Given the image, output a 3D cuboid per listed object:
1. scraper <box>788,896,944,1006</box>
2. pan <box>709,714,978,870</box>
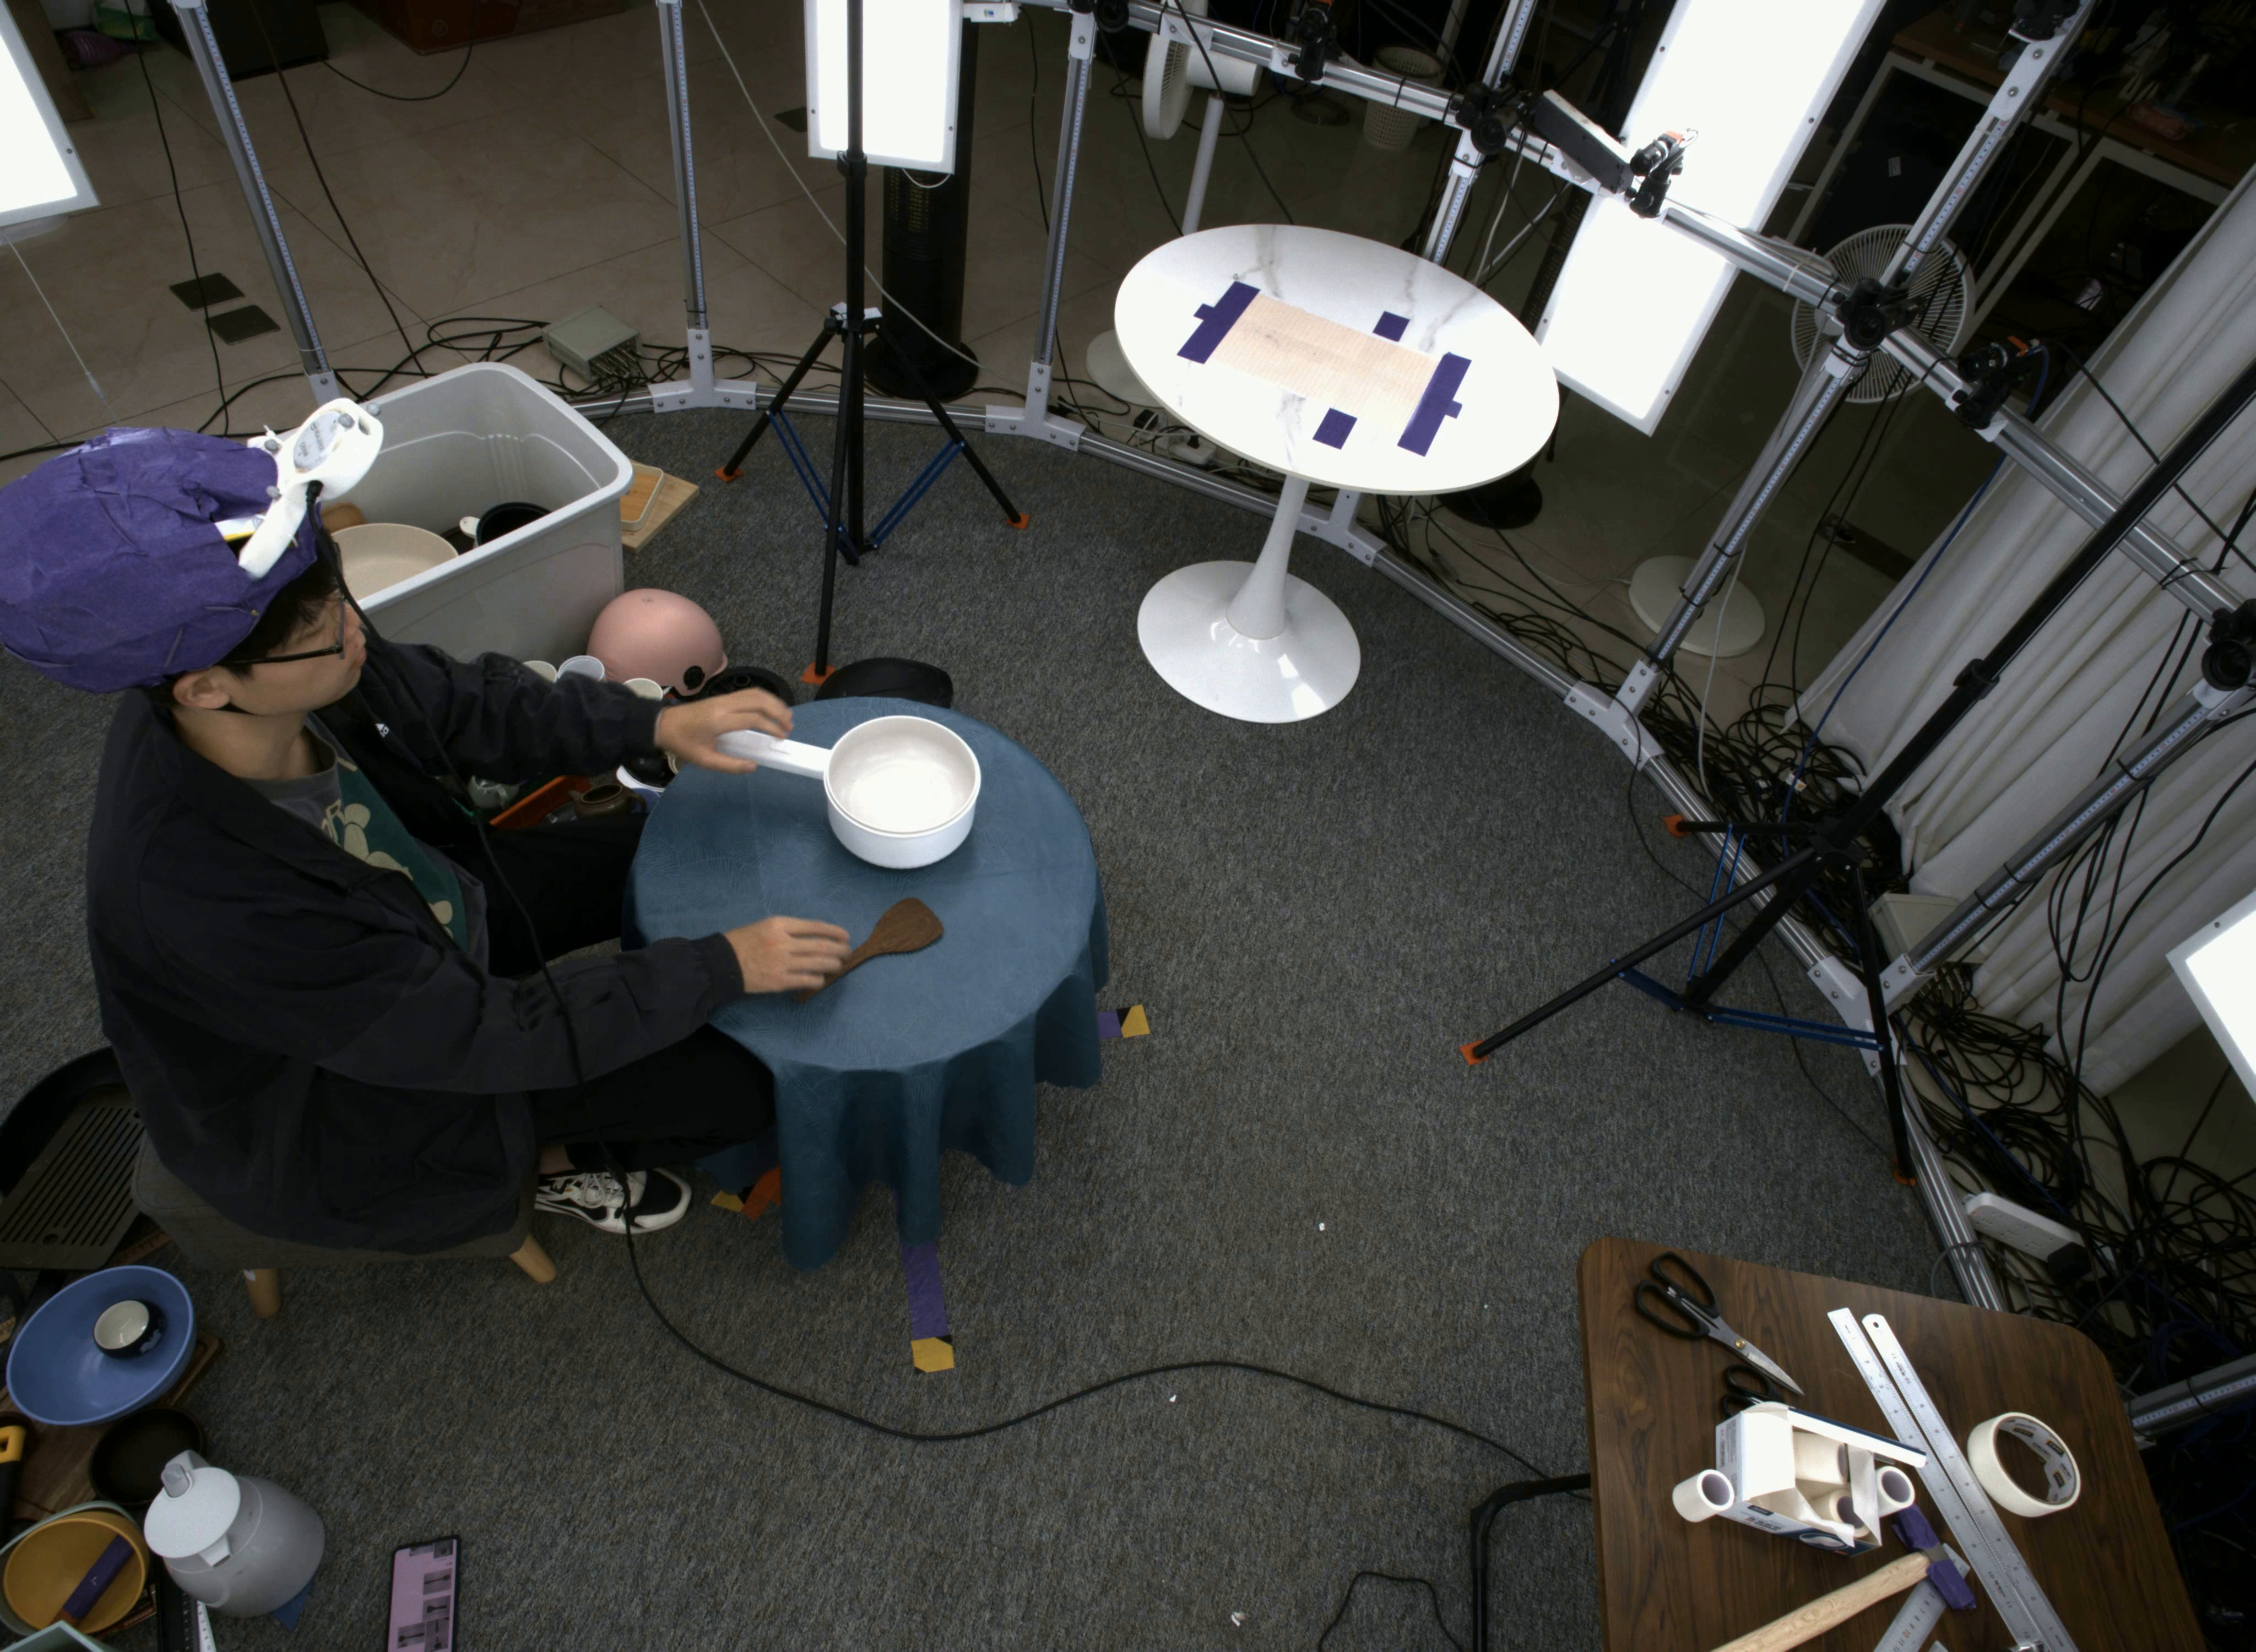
[{"bbox_3d":[-0.330,0.159,1.625,0.212,0.011,0.074,-32,66,-30],"label":"scraper"},{"bbox_3d":[-0.374,-0.056,1.718,0.352,0.104,0.198,12,53,-2],"label":"pan"}]
